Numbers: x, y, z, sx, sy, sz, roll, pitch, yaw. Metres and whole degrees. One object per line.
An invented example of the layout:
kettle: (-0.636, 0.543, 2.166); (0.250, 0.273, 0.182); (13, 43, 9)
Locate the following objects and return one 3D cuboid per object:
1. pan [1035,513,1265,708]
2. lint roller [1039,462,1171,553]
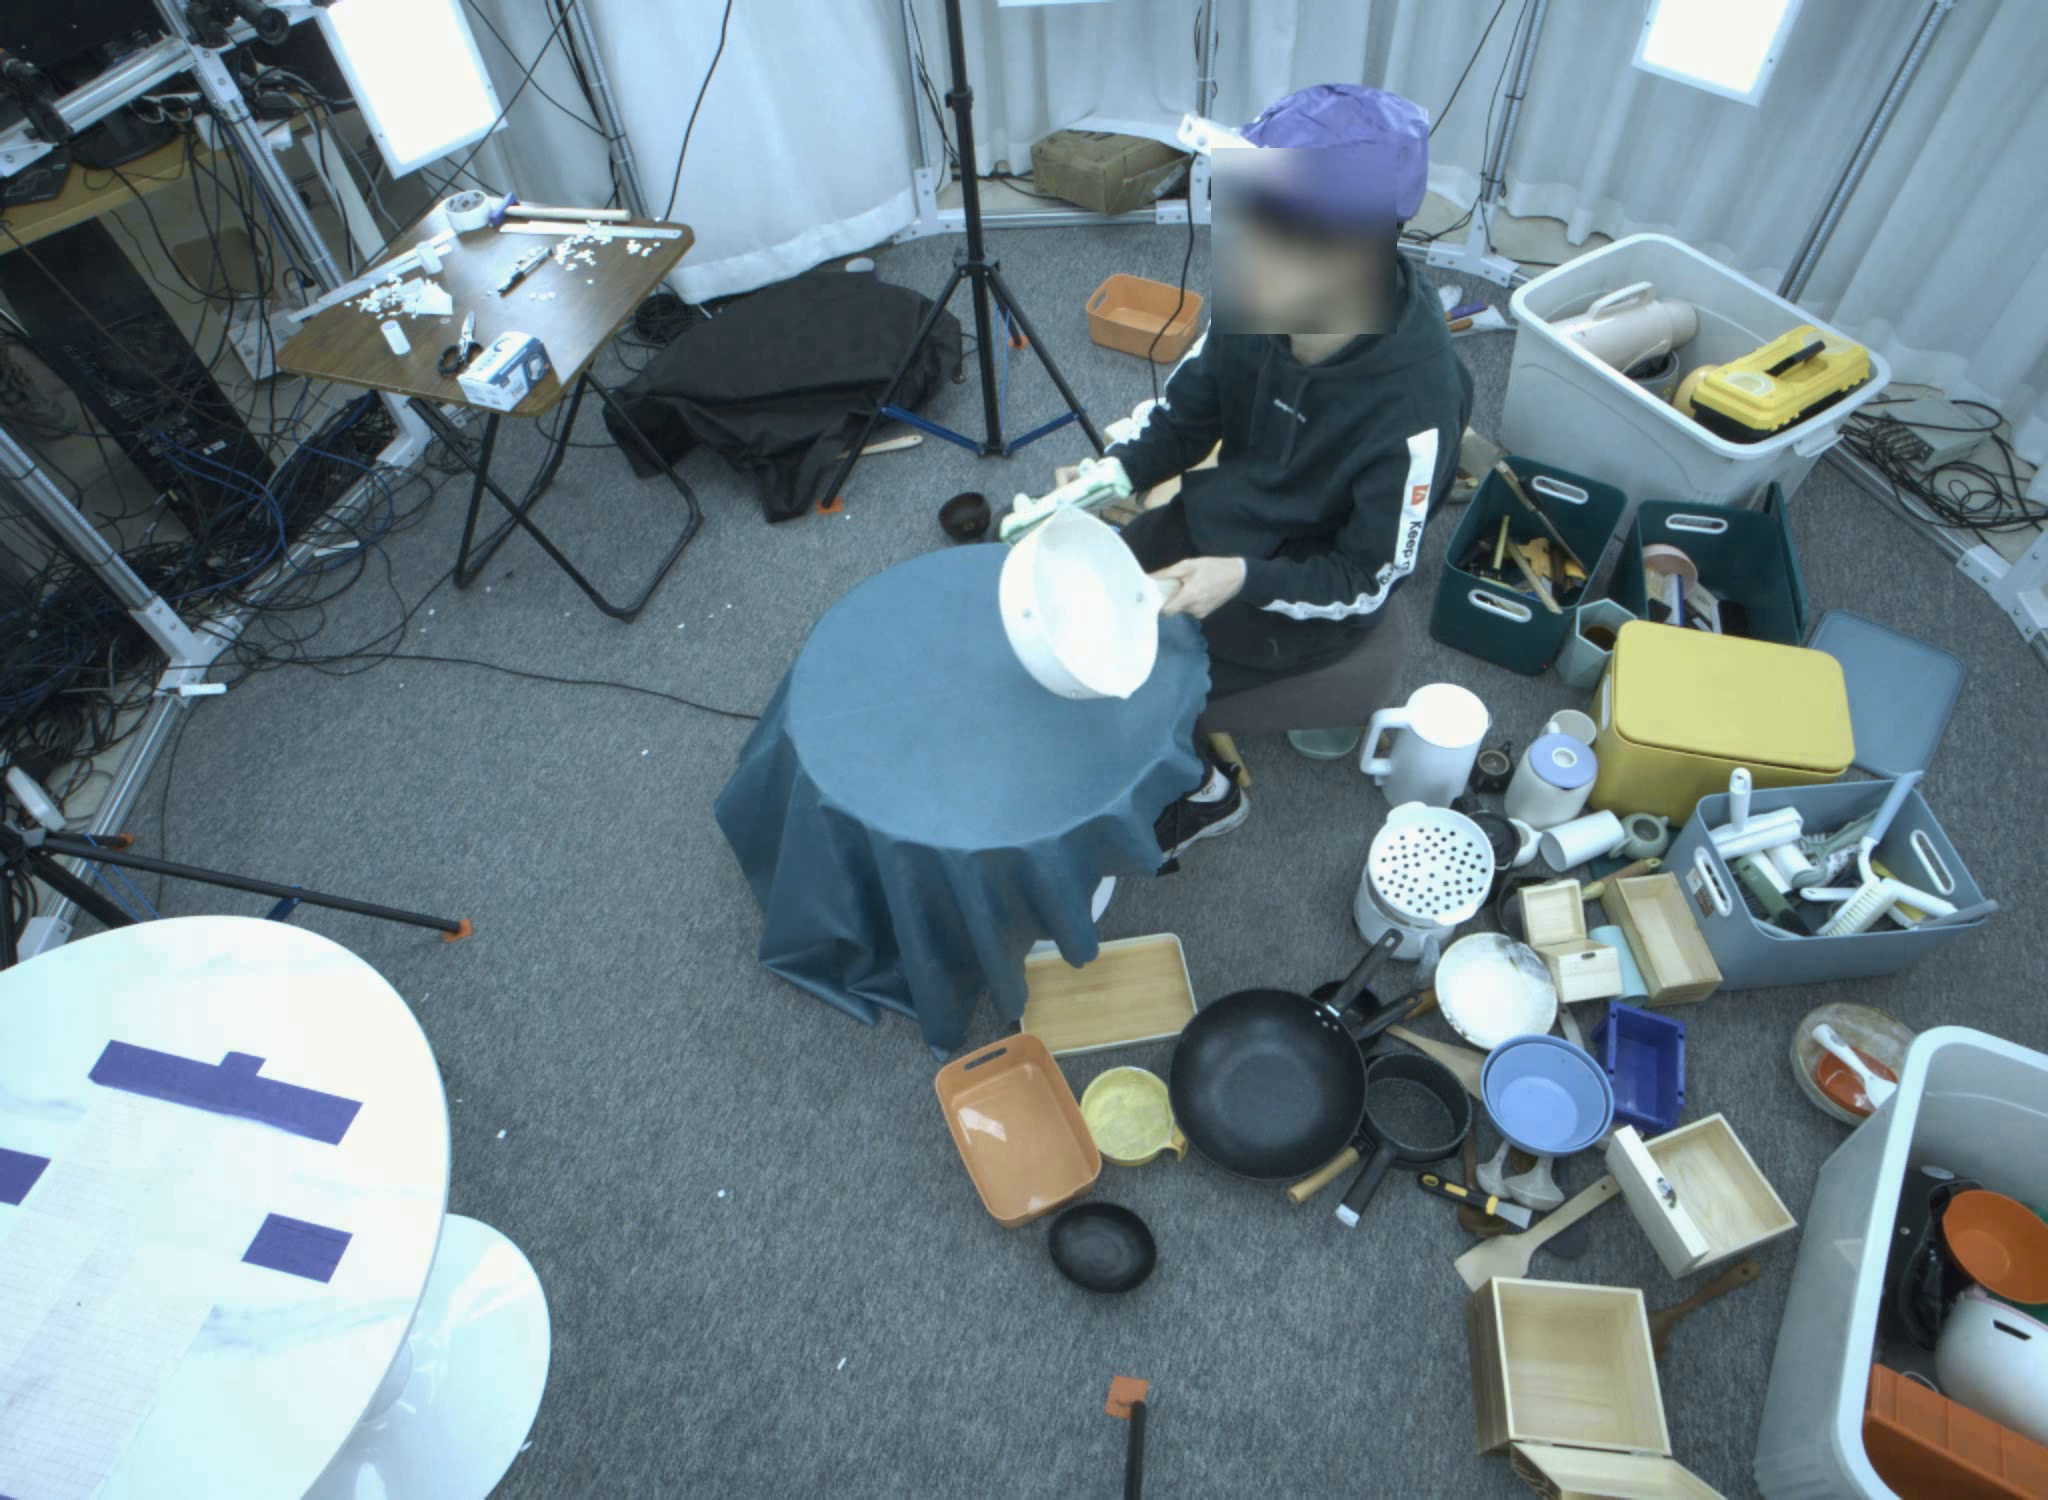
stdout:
pan: (0.178, -0.190, 1.673); (0.442, 0.100, 0.263); (-16, 89, -48)
lint roller: (0.125, -0.369, 1.779); (0.196, 0.083, 0.183); (-23, 18, 29)
